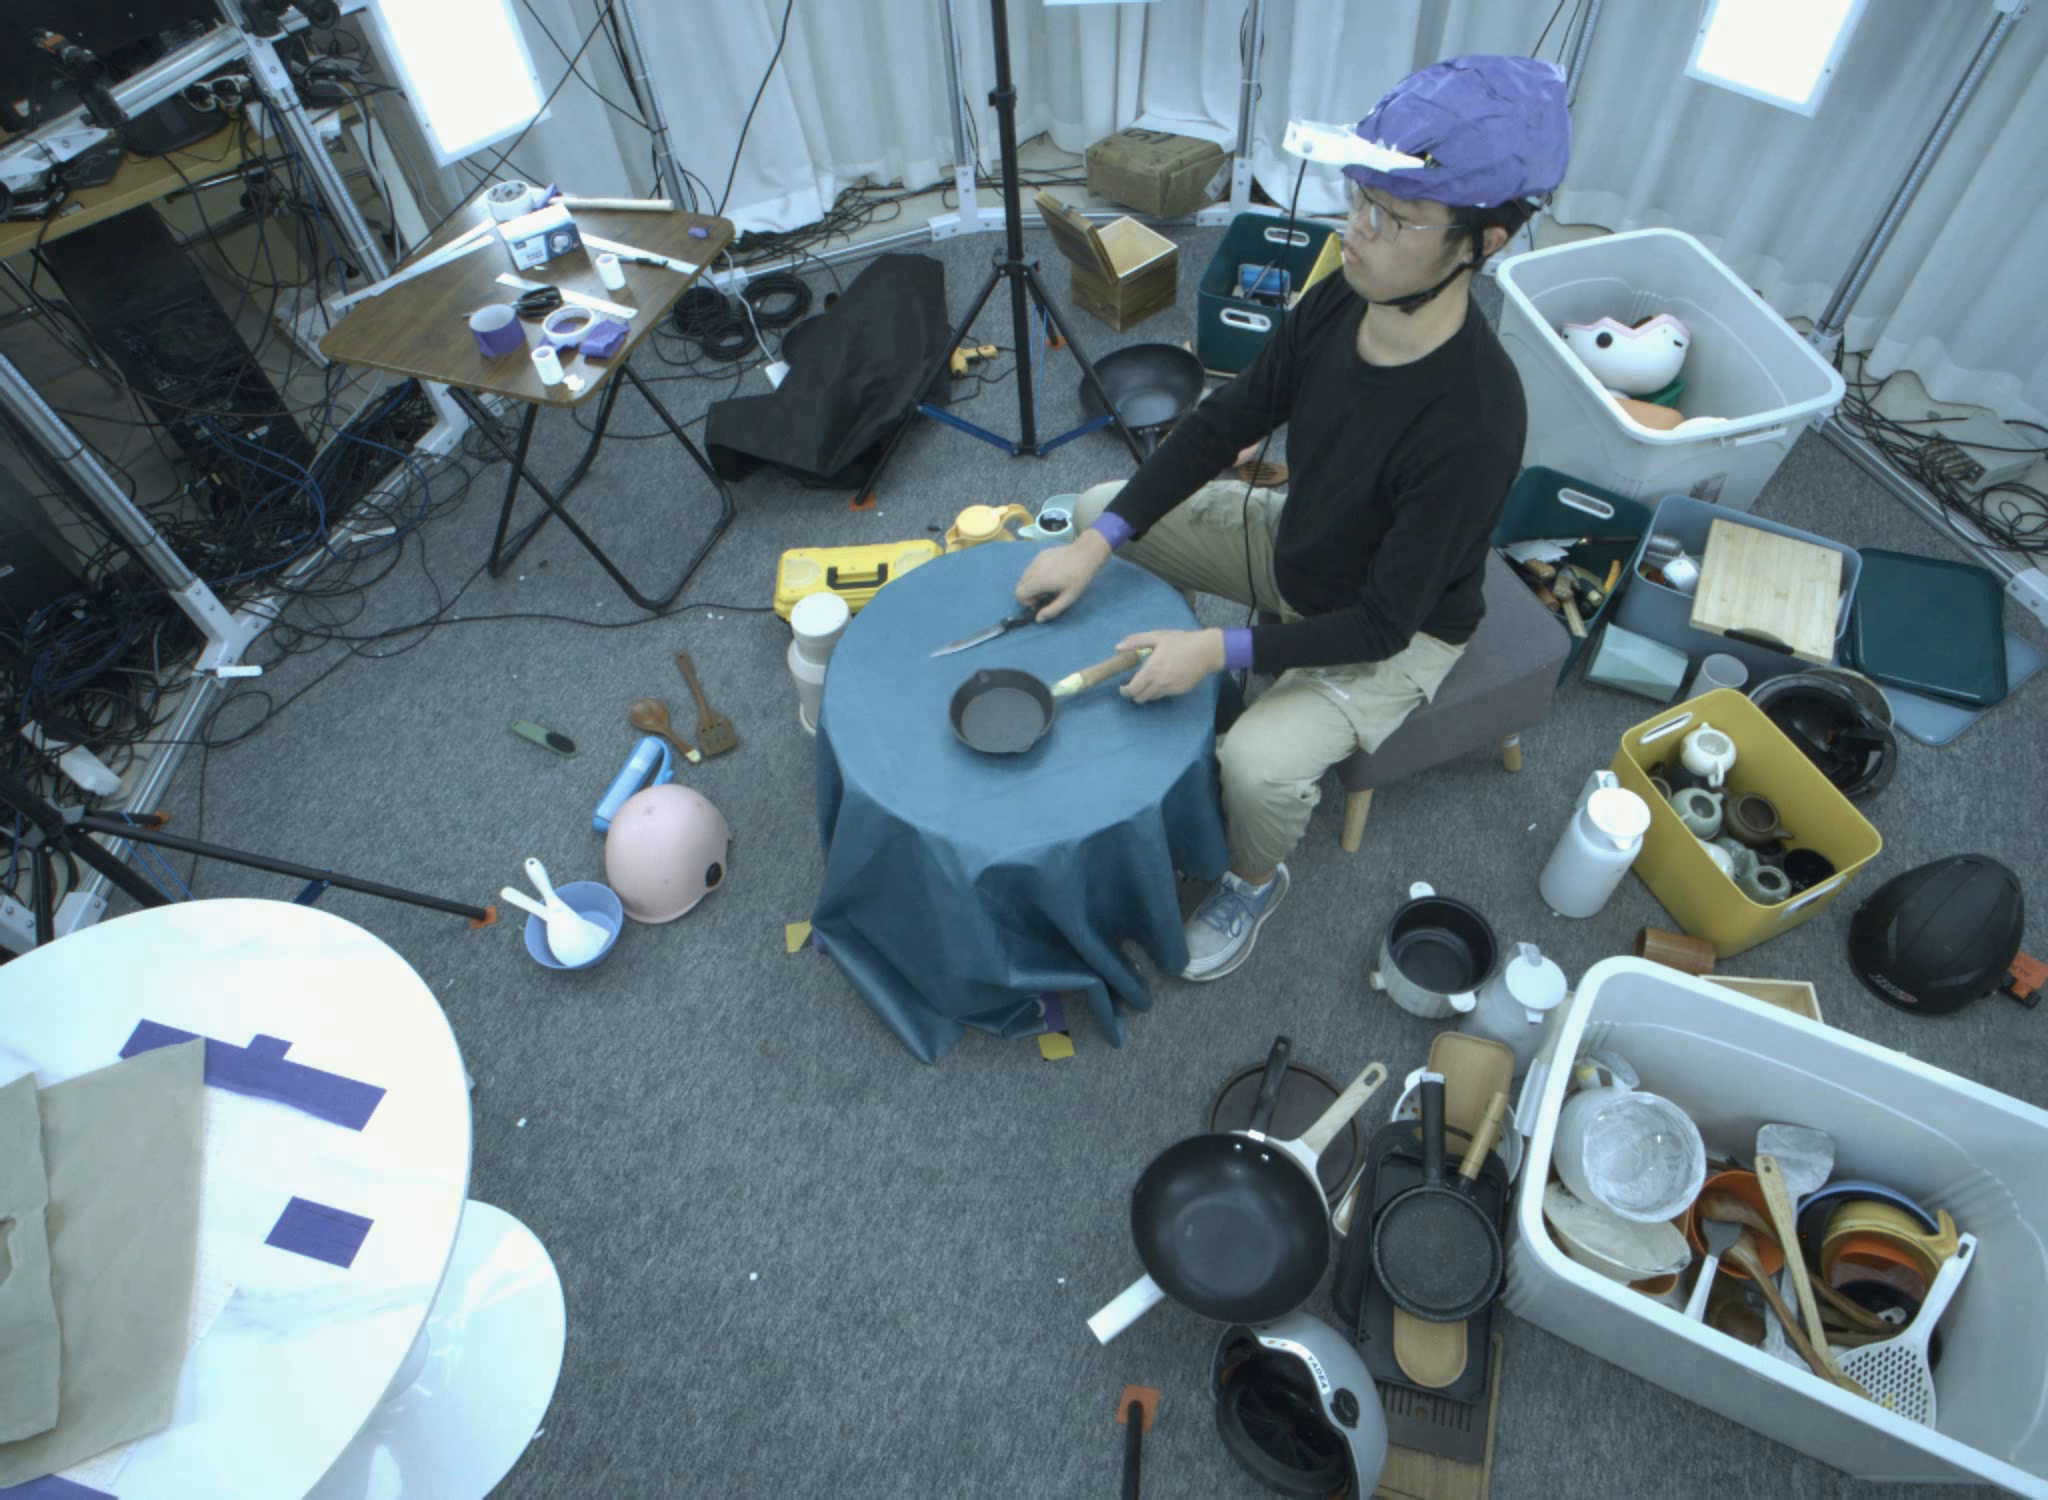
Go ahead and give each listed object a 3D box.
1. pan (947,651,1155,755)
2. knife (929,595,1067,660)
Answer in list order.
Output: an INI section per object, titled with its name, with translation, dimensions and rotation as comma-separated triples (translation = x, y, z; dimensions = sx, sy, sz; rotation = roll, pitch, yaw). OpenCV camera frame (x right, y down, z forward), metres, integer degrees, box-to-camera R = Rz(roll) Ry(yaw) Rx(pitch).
[pan]
translation = 0.045, -0.083, 1.813
dimensions = 0.326, 0.050, 0.166
rotation = -18, 56, -12
[knife]
translation = -0.042, -0.191, 1.915
dimensions = 0.239, 0.016, 0.024
rotation = -25, 58, -12
